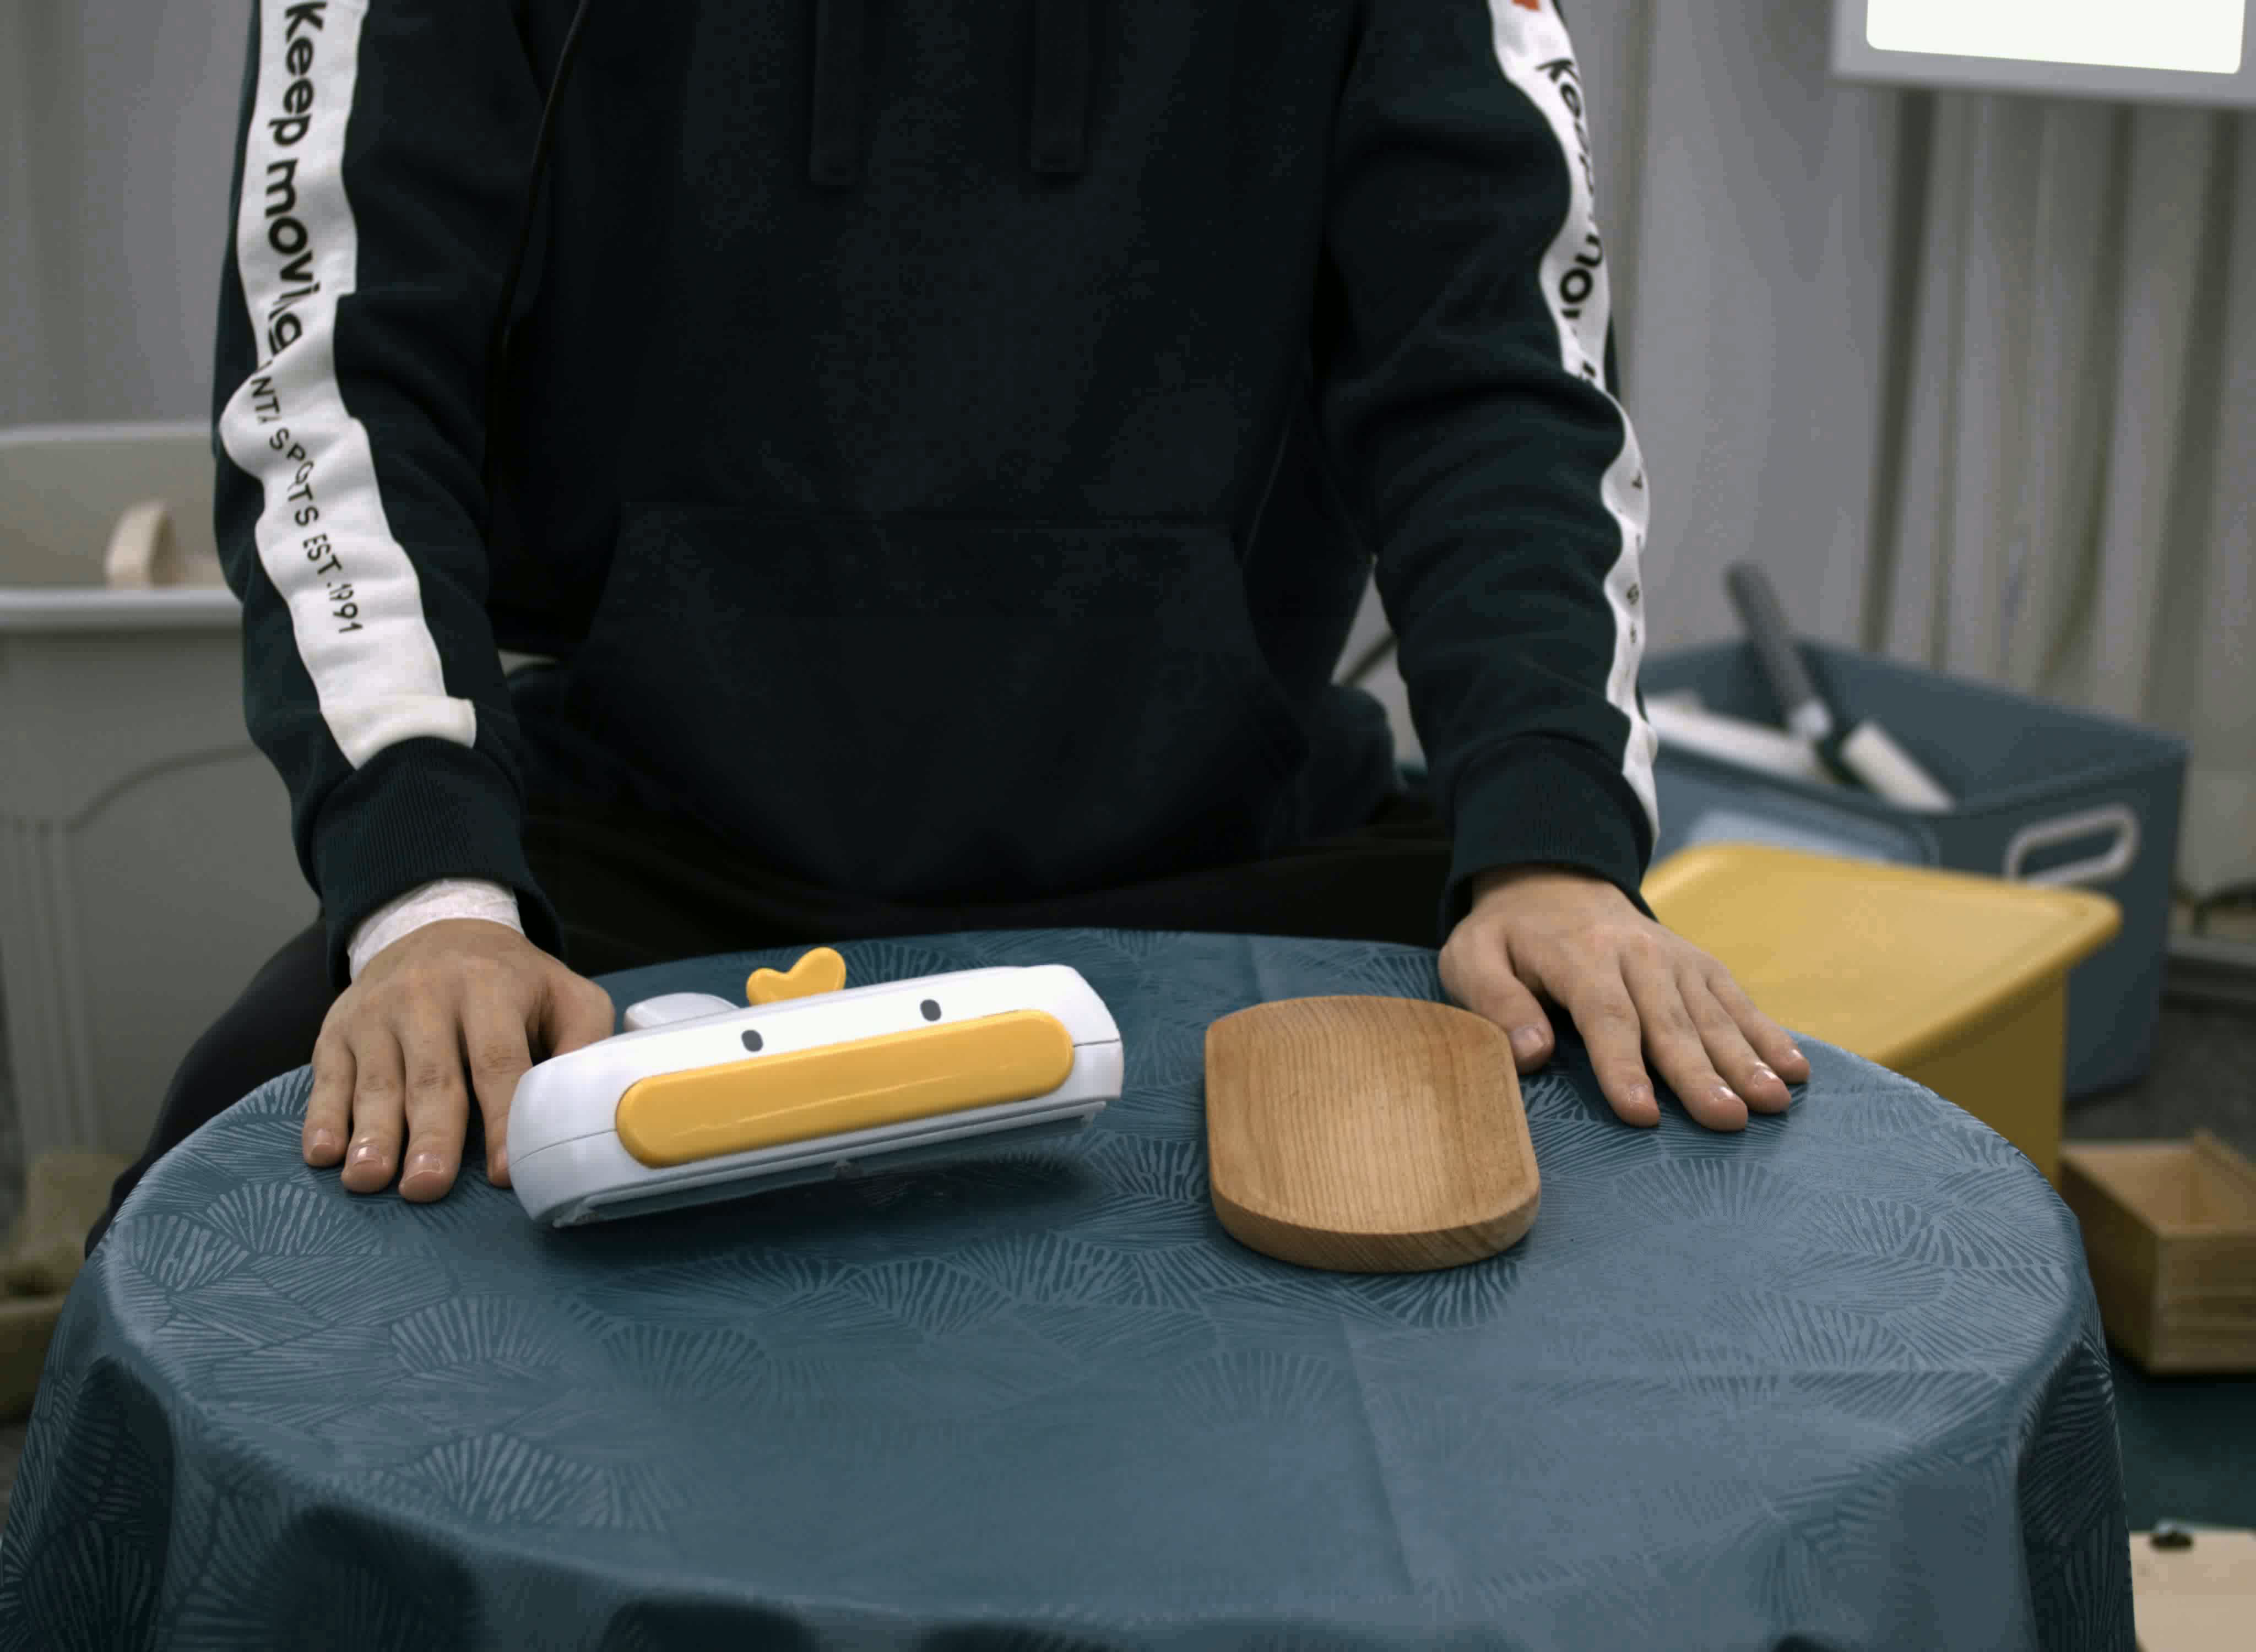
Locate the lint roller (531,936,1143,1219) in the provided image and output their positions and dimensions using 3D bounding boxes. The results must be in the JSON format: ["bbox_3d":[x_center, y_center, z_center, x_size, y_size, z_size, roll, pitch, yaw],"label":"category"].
[{"bbox_3d":[-0.114,0.078,1.651,0.193,0.074,0.191,-14,1,-26],"label":"lint roller"}]

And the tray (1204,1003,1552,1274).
[{"bbox_3d":[0.076,0.096,1.652,0.101,0.020,0.230,-1,17,-1],"label":"tray"}]
